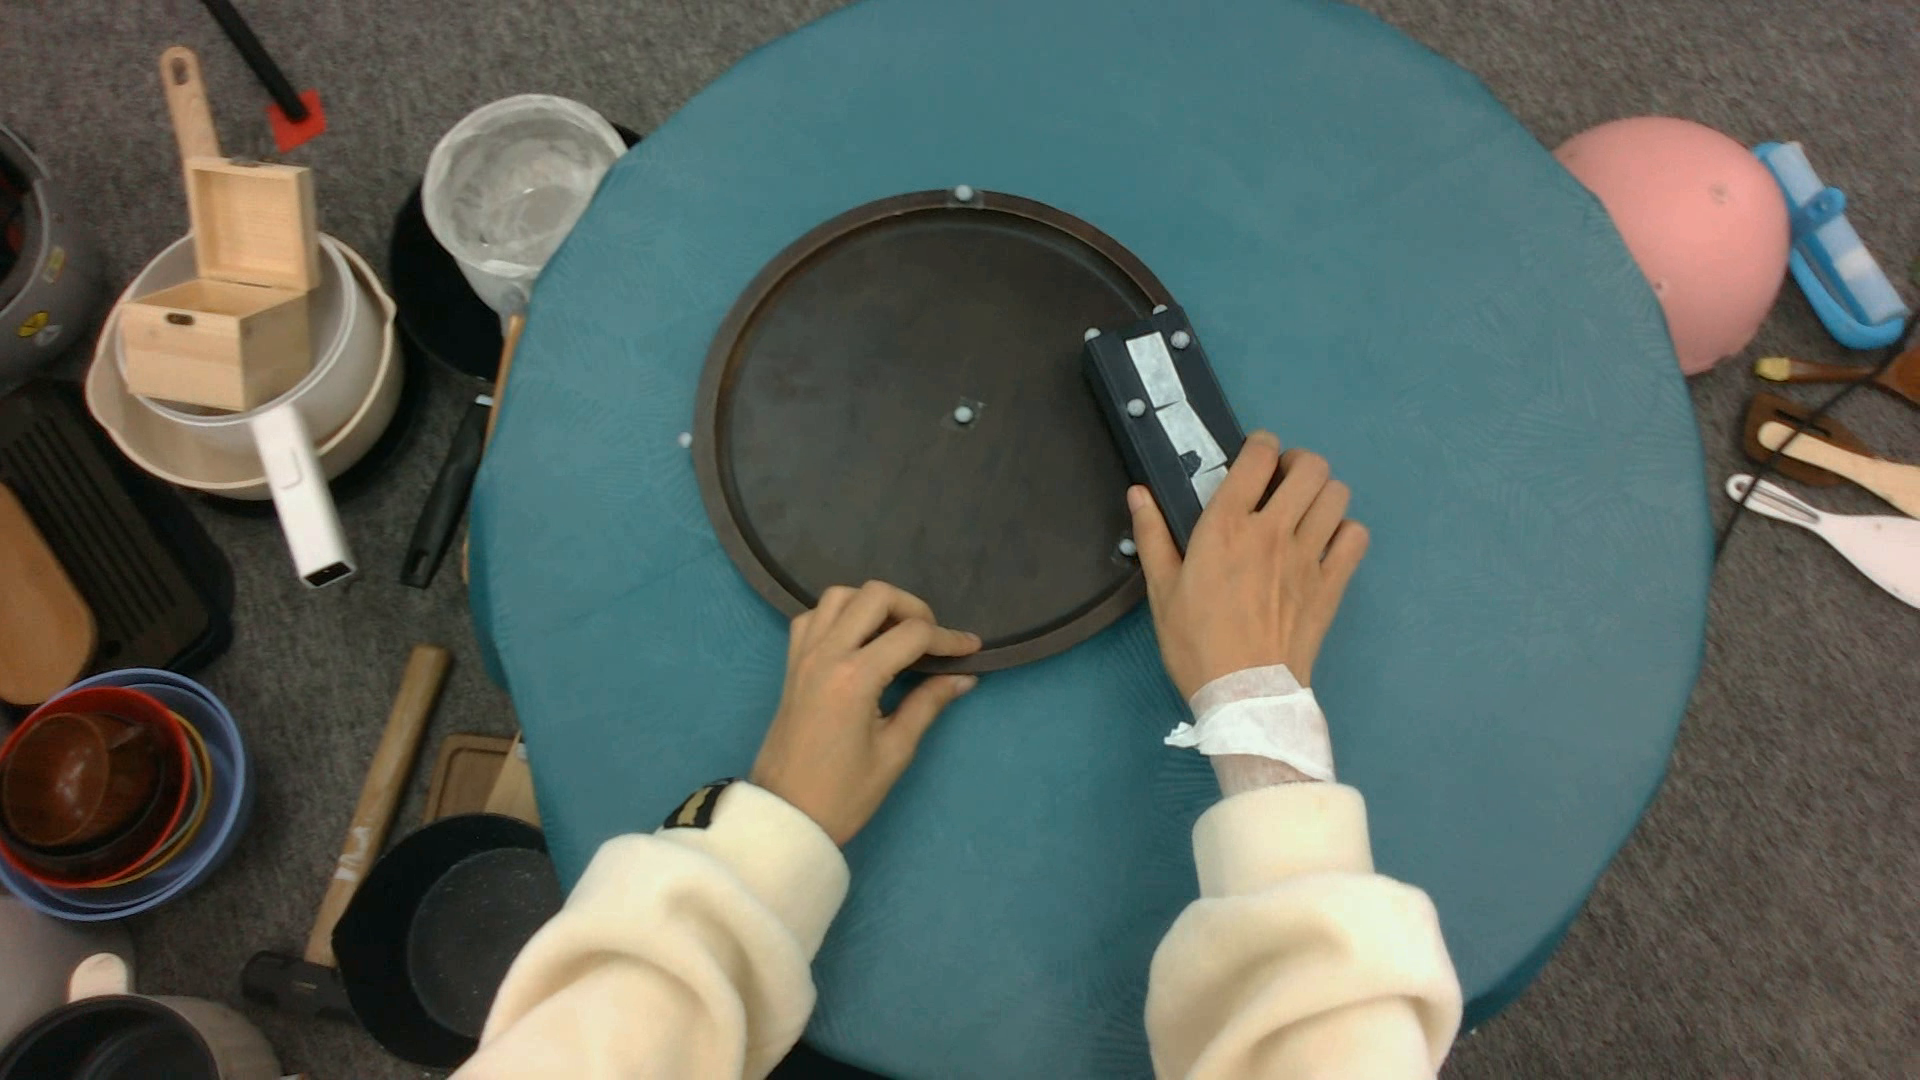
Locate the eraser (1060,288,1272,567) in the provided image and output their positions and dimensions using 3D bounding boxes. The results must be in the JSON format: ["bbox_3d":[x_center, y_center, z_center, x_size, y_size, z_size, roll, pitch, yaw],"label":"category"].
[{"bbox_3d":[0.095,-0.053,0.648,0.053,0.030,0.126,-23,75,-2],"label":"eraser"}]

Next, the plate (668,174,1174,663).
[{"bbox_3d":[-0.013,-0.063,0.671,0.255,0.029,0.255,1,71,-2],"label":"plate"}]
